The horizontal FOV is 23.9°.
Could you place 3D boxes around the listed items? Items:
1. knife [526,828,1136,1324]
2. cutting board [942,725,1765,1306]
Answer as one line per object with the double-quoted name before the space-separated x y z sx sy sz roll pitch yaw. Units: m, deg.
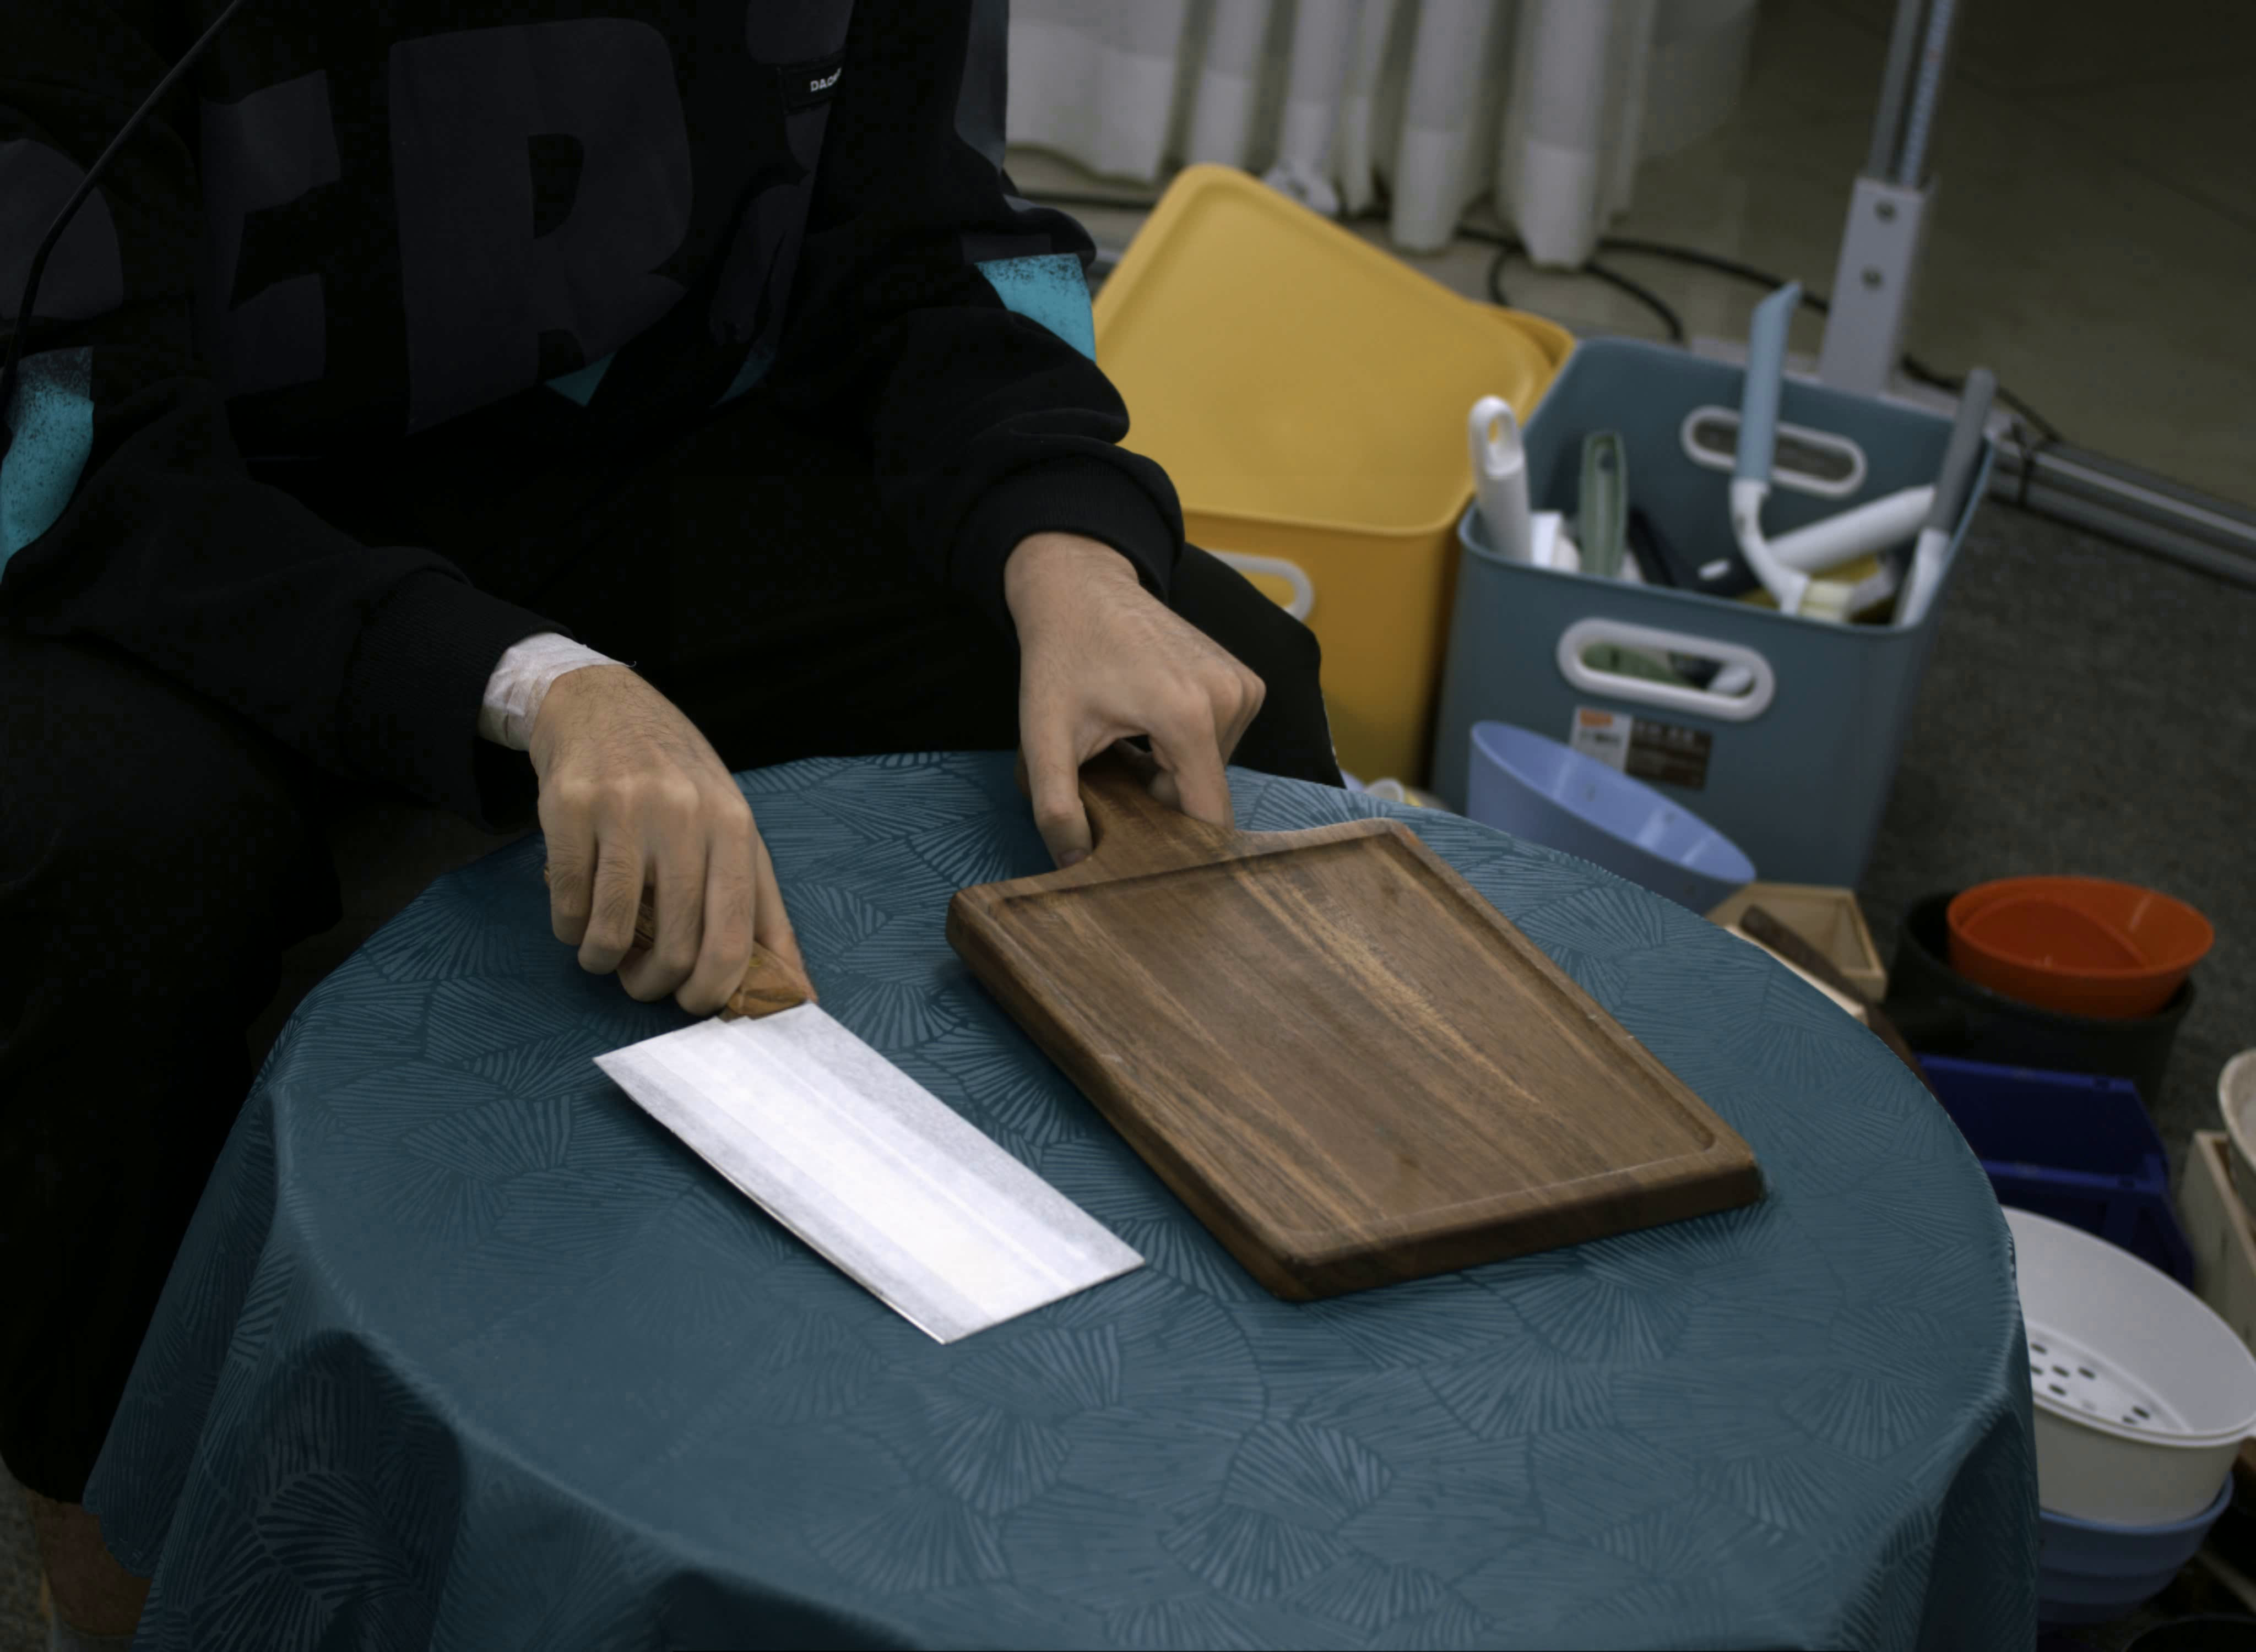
"knife" -0.126 0.085 1.825 0.092 0.021 0.308 -19 40 -38
"cutting board" 0.052 0.053 1.915 0.200 0.023 0.355 -10 33 -28
